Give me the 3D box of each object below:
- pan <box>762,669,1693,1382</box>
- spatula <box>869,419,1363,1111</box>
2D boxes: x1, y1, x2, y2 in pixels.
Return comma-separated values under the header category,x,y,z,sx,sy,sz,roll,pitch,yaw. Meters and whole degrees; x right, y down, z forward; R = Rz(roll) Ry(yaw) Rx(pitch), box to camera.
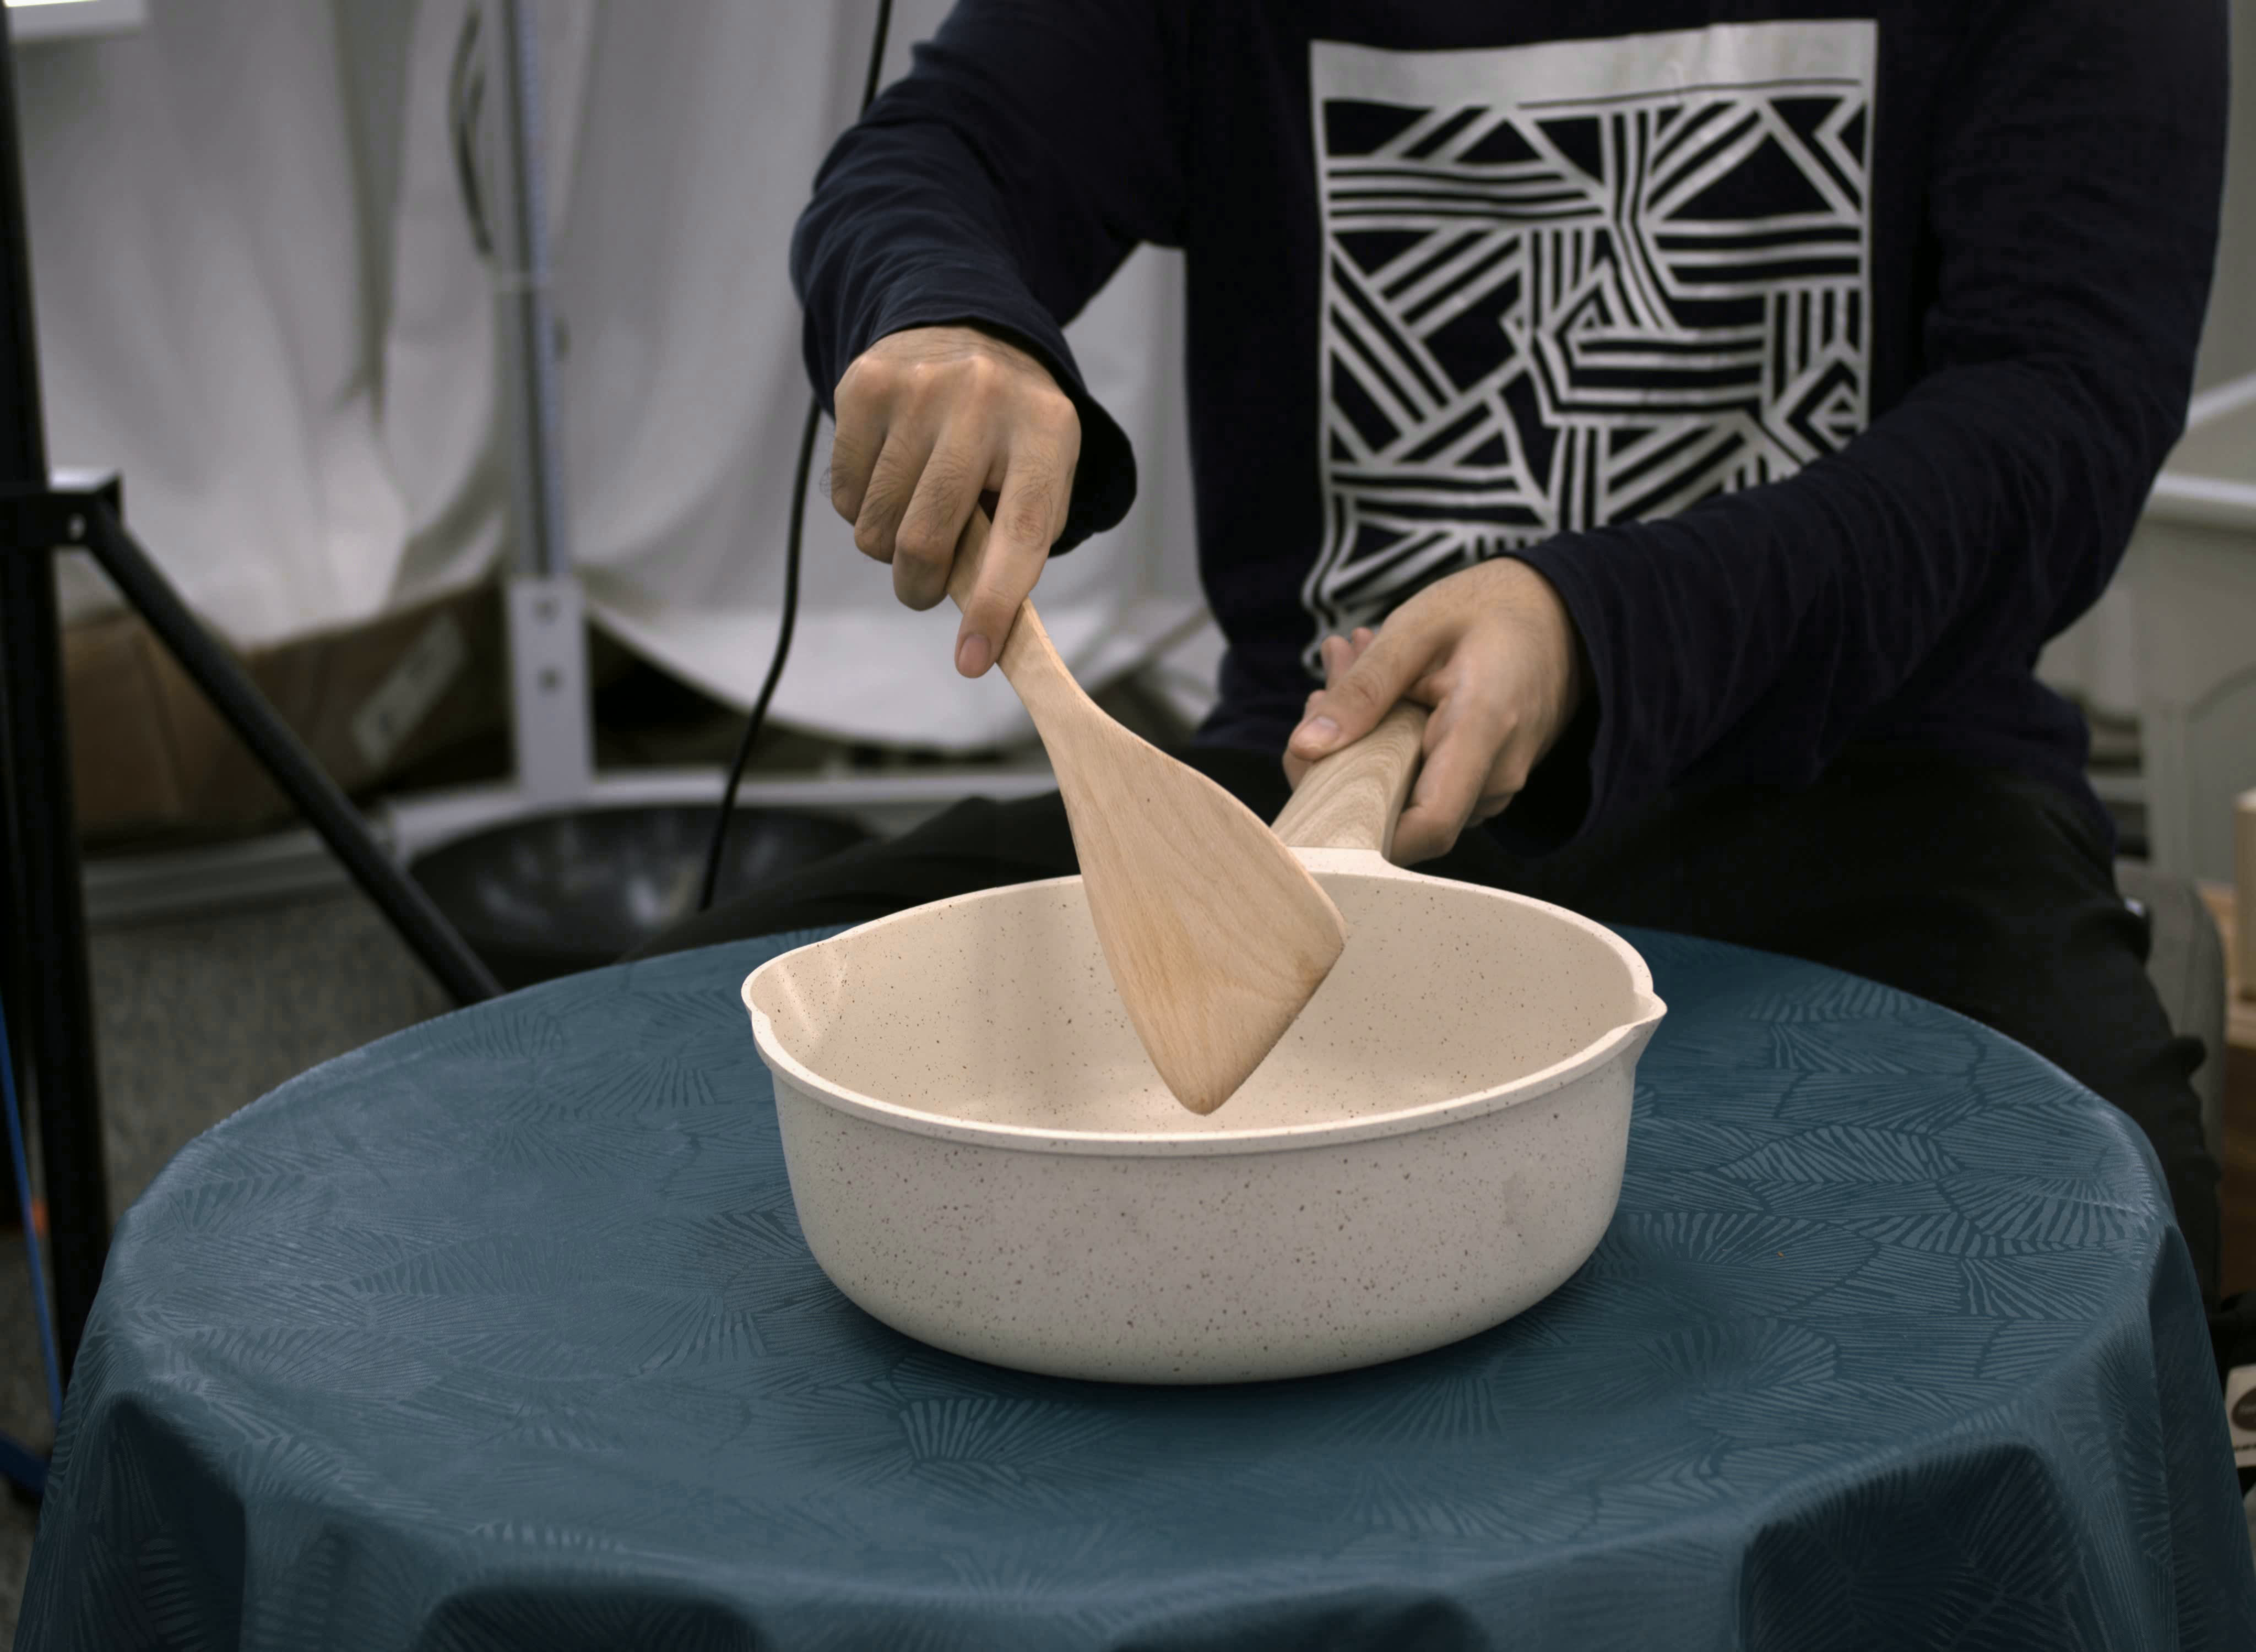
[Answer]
category,x,y,z,sx,sy,sz,roll,pitch,yaw
pan,0.049,0.054,1.567,0.265,0.102,0.431,1,15,15
spatula,-0.016,-0.032,1.547,0.016,0.080,0.334,13,26,-30
